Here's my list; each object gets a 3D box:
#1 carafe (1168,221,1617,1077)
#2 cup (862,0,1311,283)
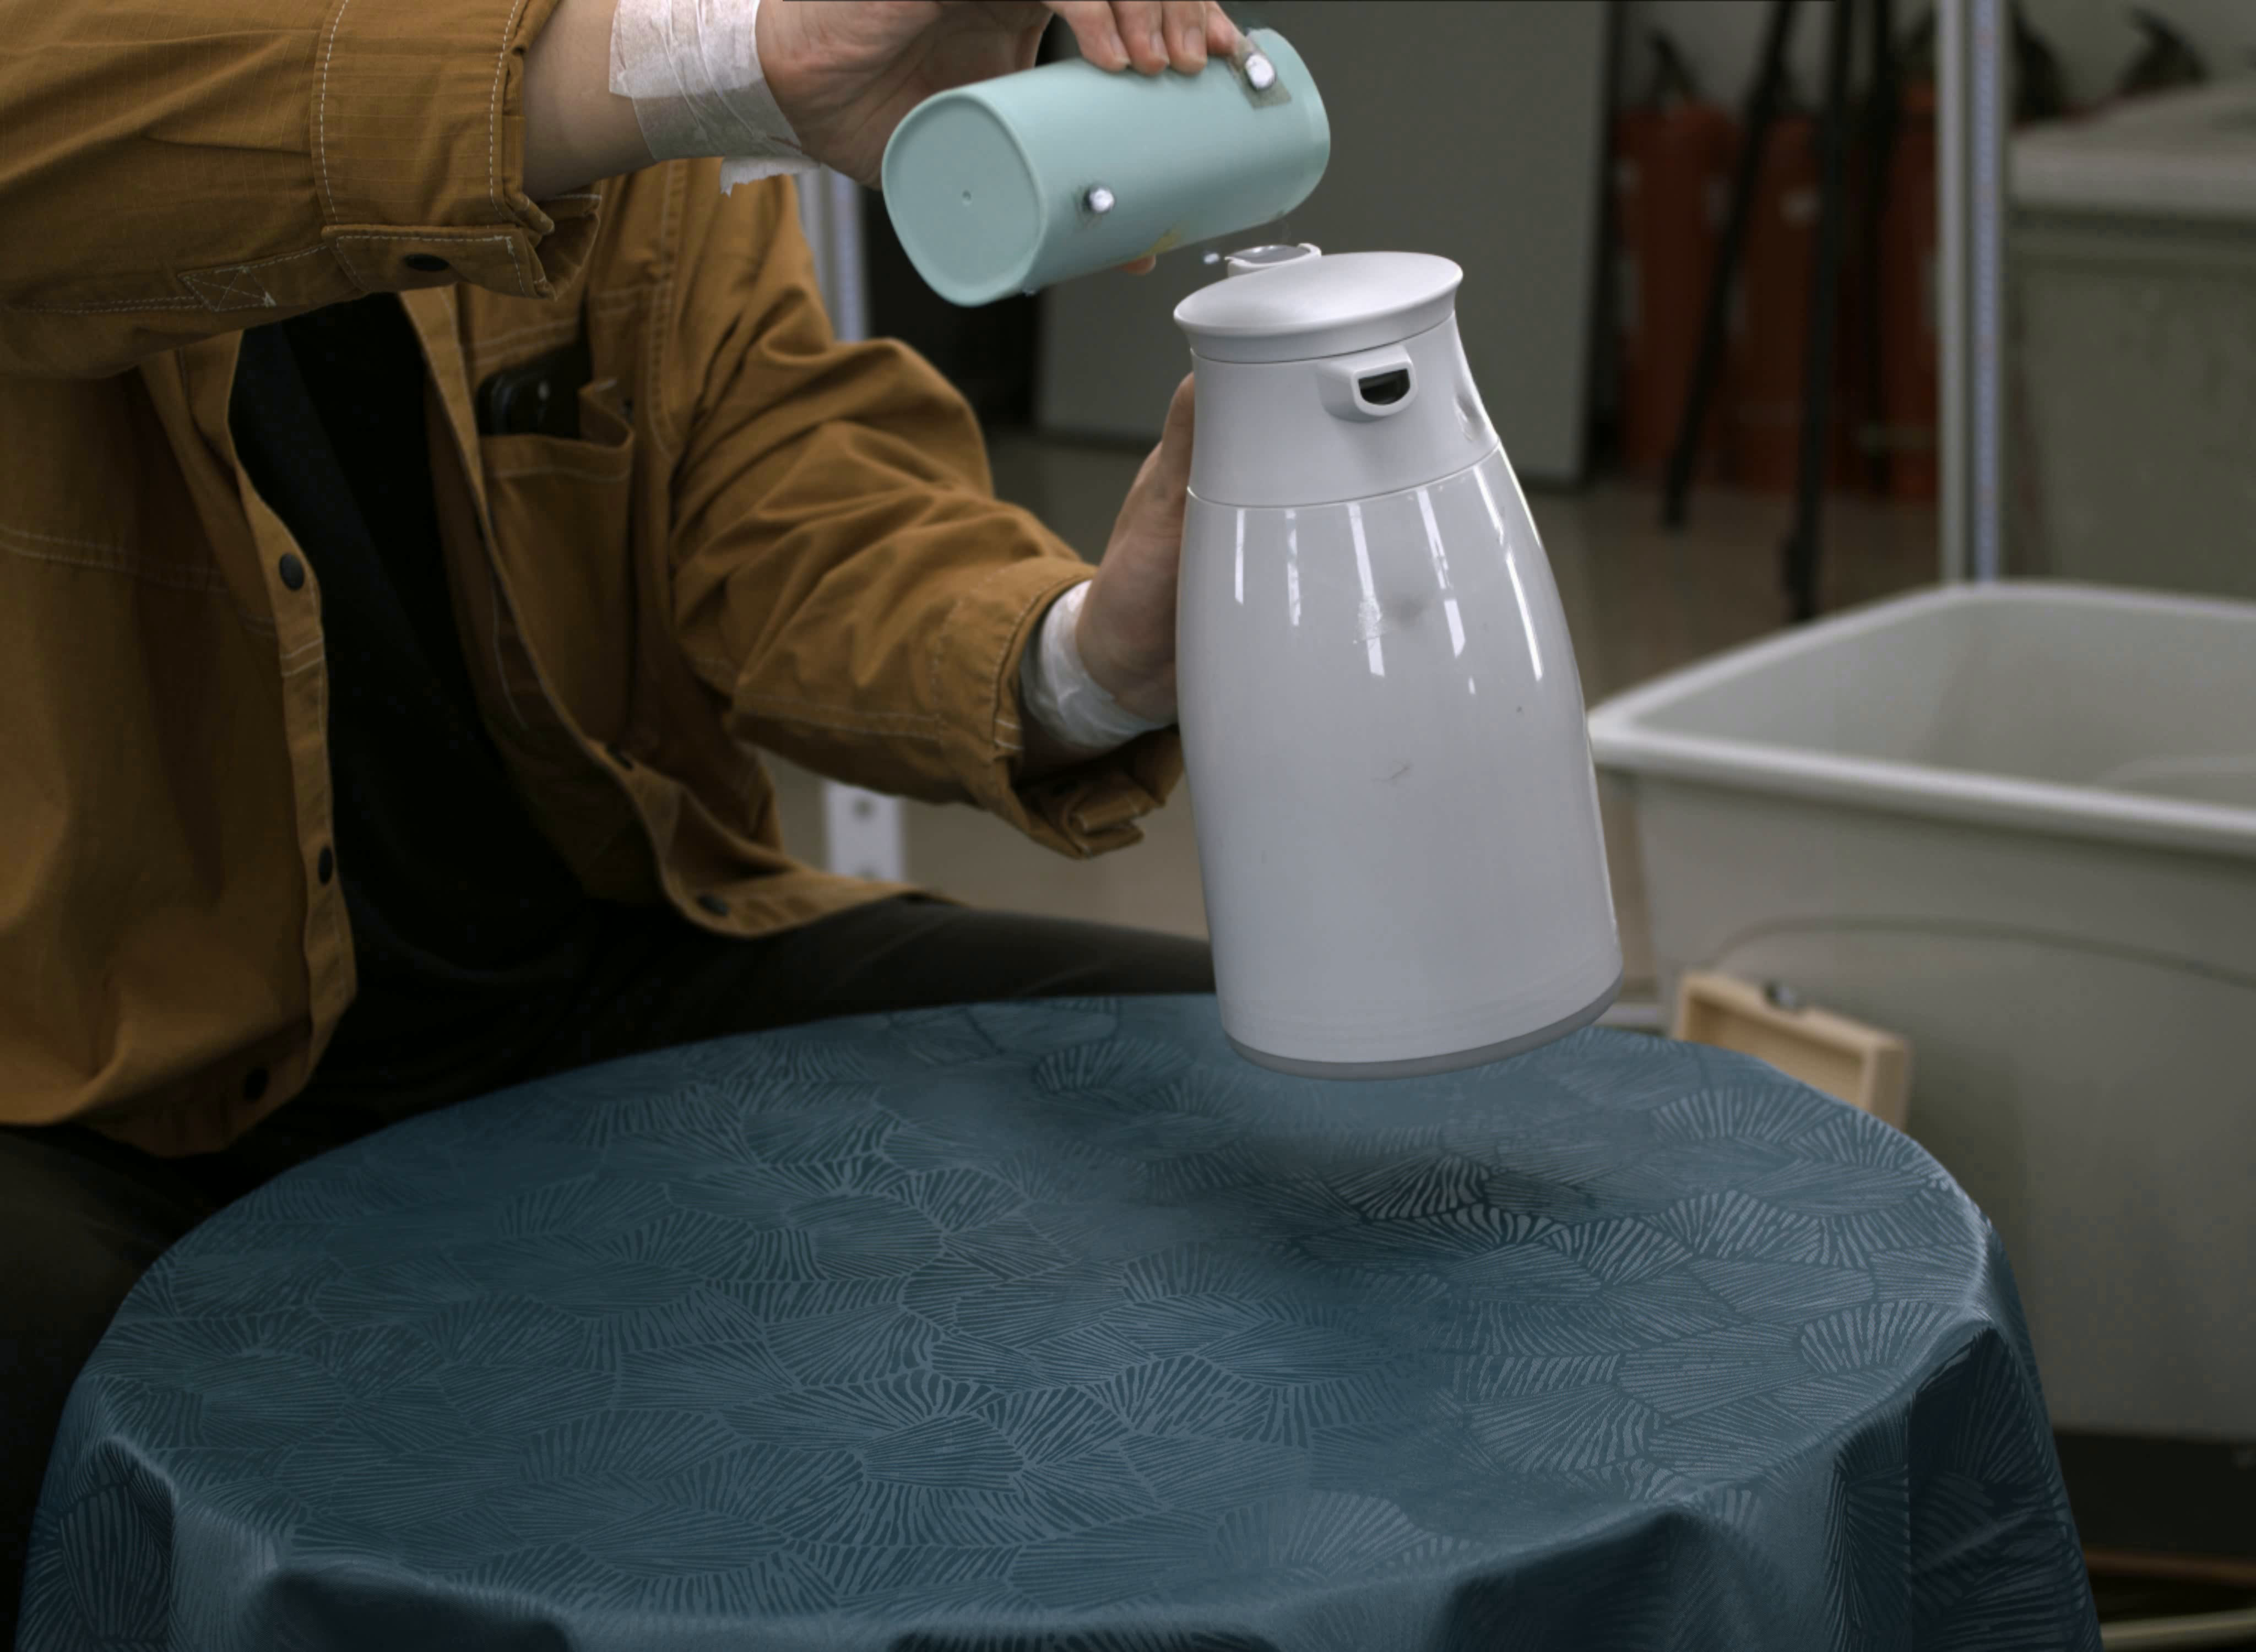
[{"bbox_3d":[0.069,-0.065,1.722,0.130,0.251,0.169,-14,16,-12],"label":"carafe"},{"bbox_3d":[-0.012,-0.205,1.593,0.067,0.067,0.130,8,20,41],"label":"cup"}]
